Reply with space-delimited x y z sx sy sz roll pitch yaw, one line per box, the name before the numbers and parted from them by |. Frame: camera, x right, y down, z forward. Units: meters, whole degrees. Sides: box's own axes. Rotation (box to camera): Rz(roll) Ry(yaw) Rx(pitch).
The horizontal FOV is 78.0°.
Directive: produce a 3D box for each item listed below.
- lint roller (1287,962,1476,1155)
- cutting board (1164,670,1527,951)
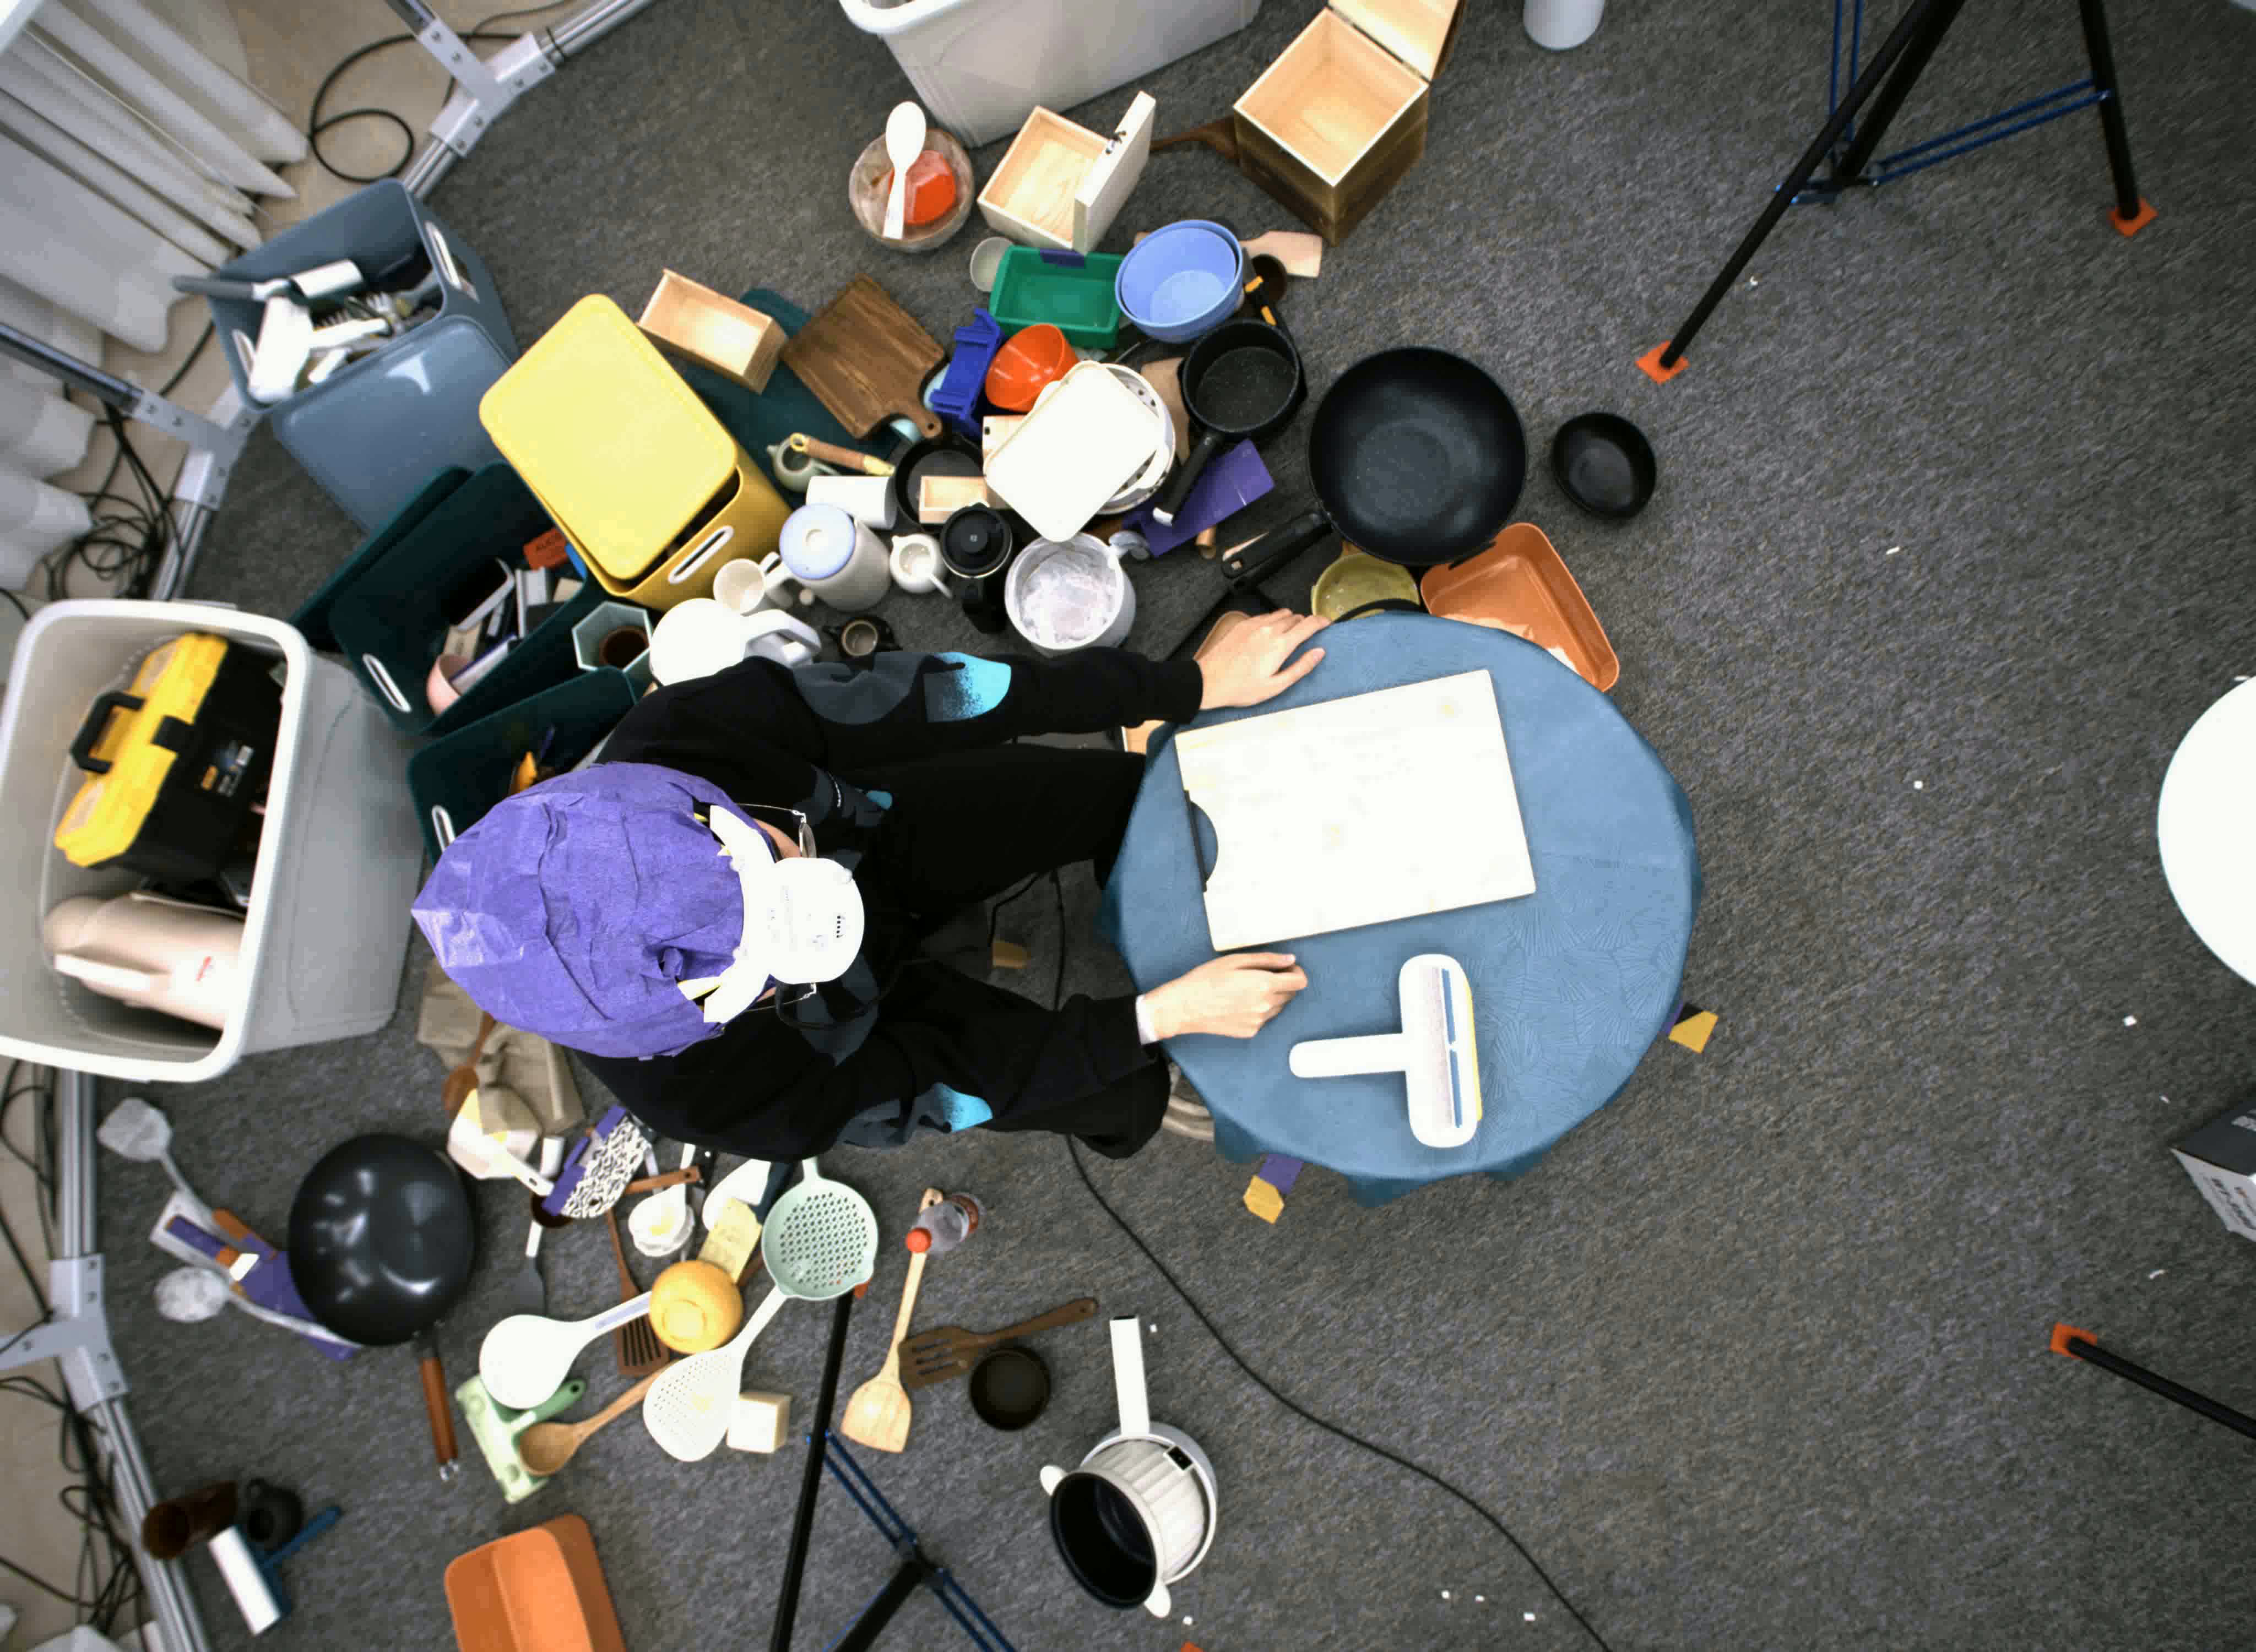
lint roller | 0.257 0.234 1.415 0.193 0.074 0.191 -1 81 12
cutting board | 0.229 -0.016 1.459 0.350 0.023 0.249 -12 85 10
